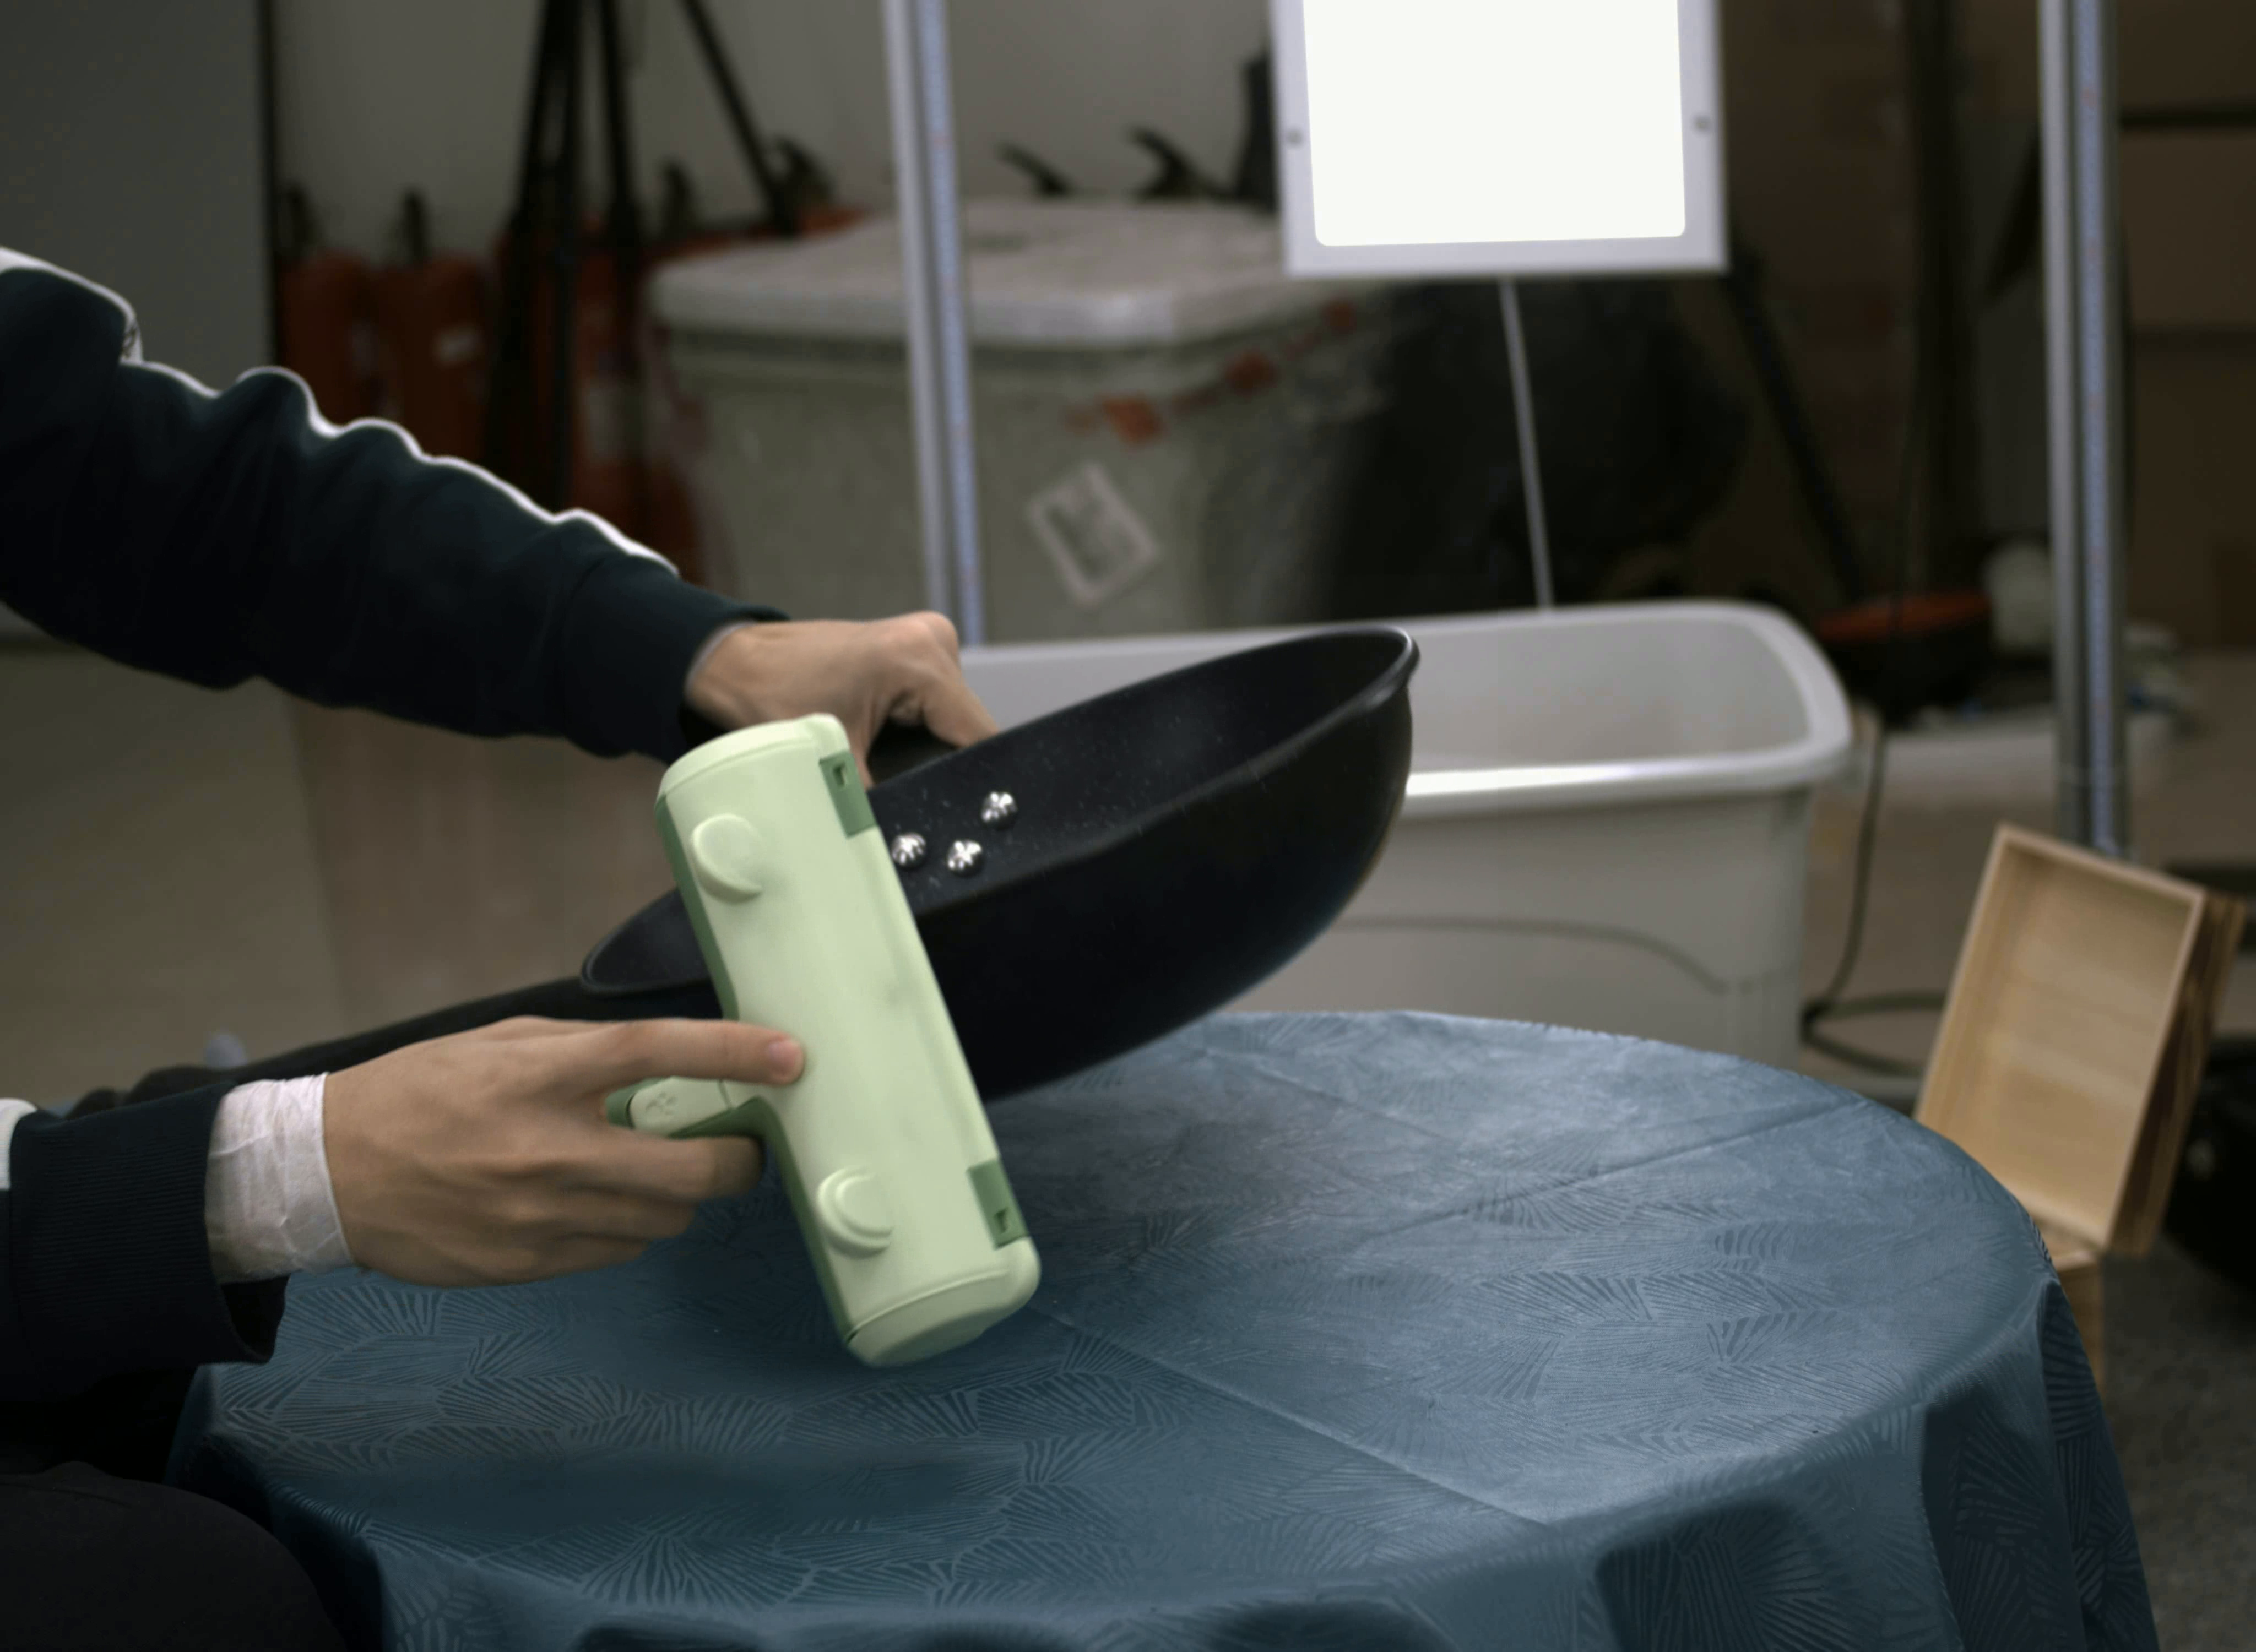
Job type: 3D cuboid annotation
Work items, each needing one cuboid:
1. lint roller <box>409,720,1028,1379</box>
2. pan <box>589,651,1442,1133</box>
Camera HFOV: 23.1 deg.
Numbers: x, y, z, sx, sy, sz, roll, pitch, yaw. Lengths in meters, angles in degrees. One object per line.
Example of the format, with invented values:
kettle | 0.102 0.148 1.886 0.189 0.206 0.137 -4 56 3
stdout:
lint roller | -0.143 0.086 1.666 0.184 0.199 0.081 -22 -16 8
pan | -0.047 0.017 1.959 0.308 0.112 0.480 -22 10 -8
